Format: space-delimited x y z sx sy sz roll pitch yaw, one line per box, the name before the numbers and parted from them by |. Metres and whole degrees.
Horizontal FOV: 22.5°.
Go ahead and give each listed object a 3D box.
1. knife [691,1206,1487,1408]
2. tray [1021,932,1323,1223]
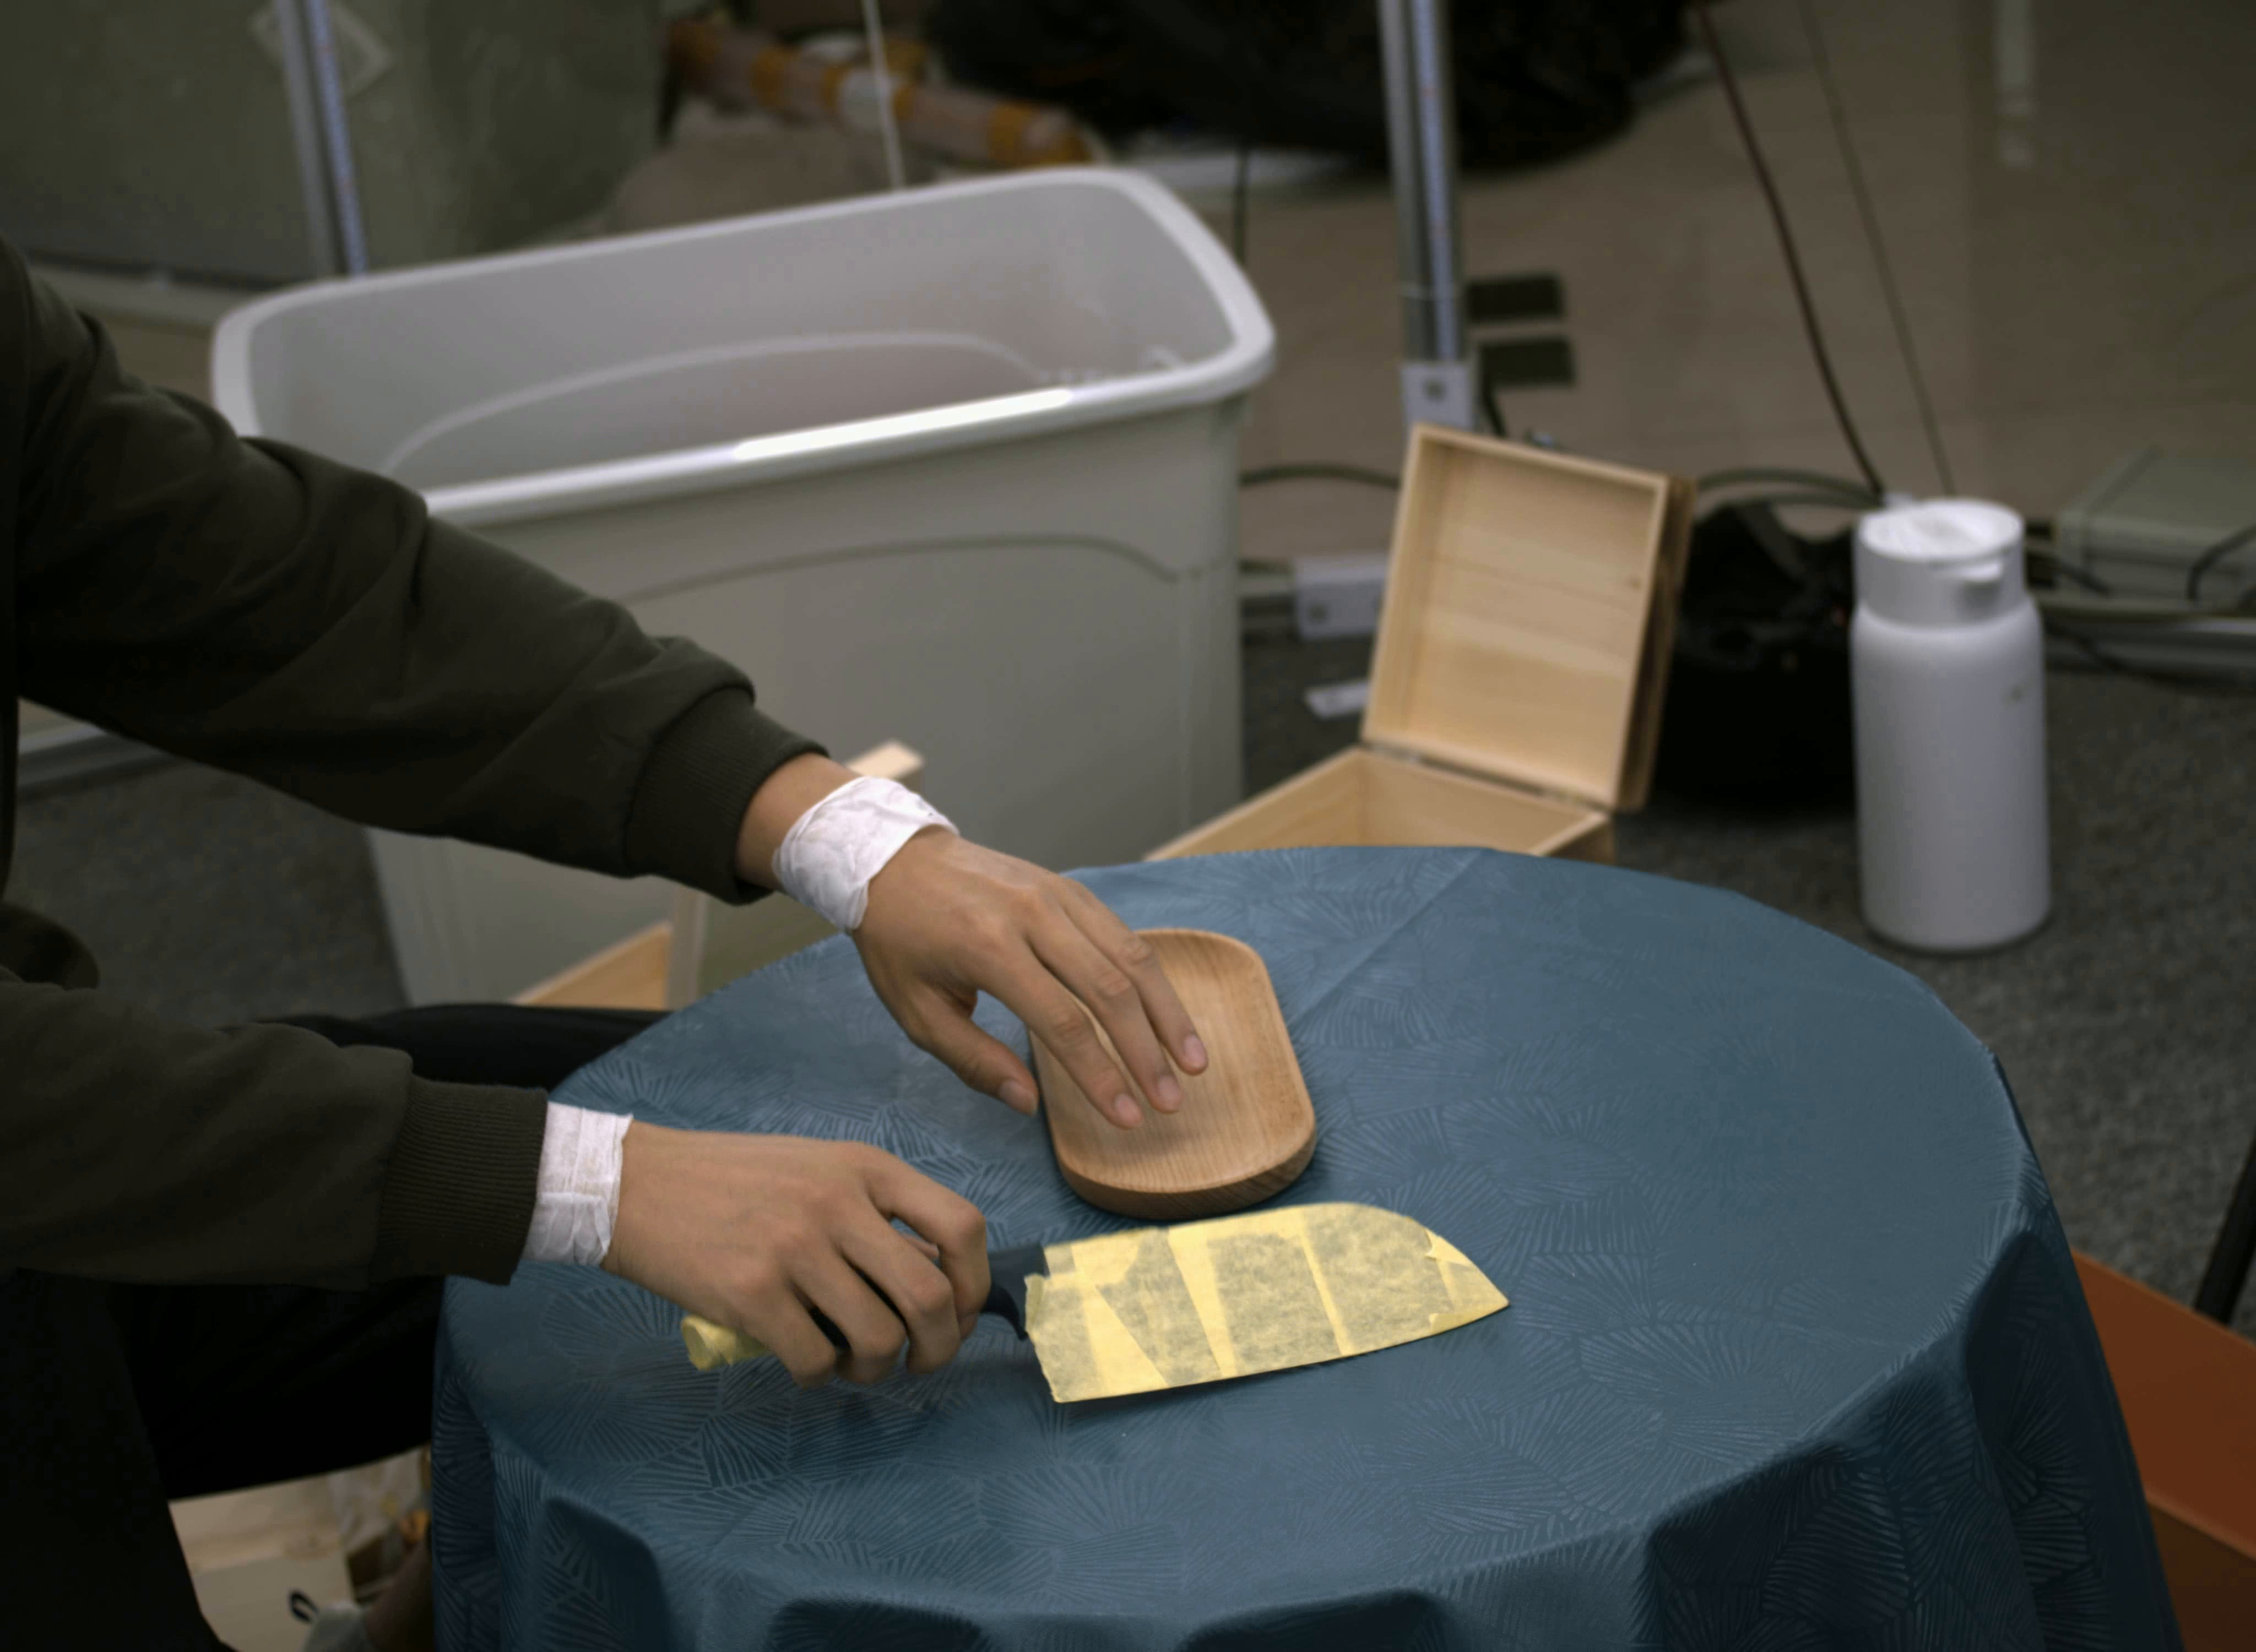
knife | -0.011 0.177 2.028 0.289 0.028 0.079 -8 41 -10
tray | 0.016 0.096 2.220 0.101 0.020 0.228 -10 26 -4
